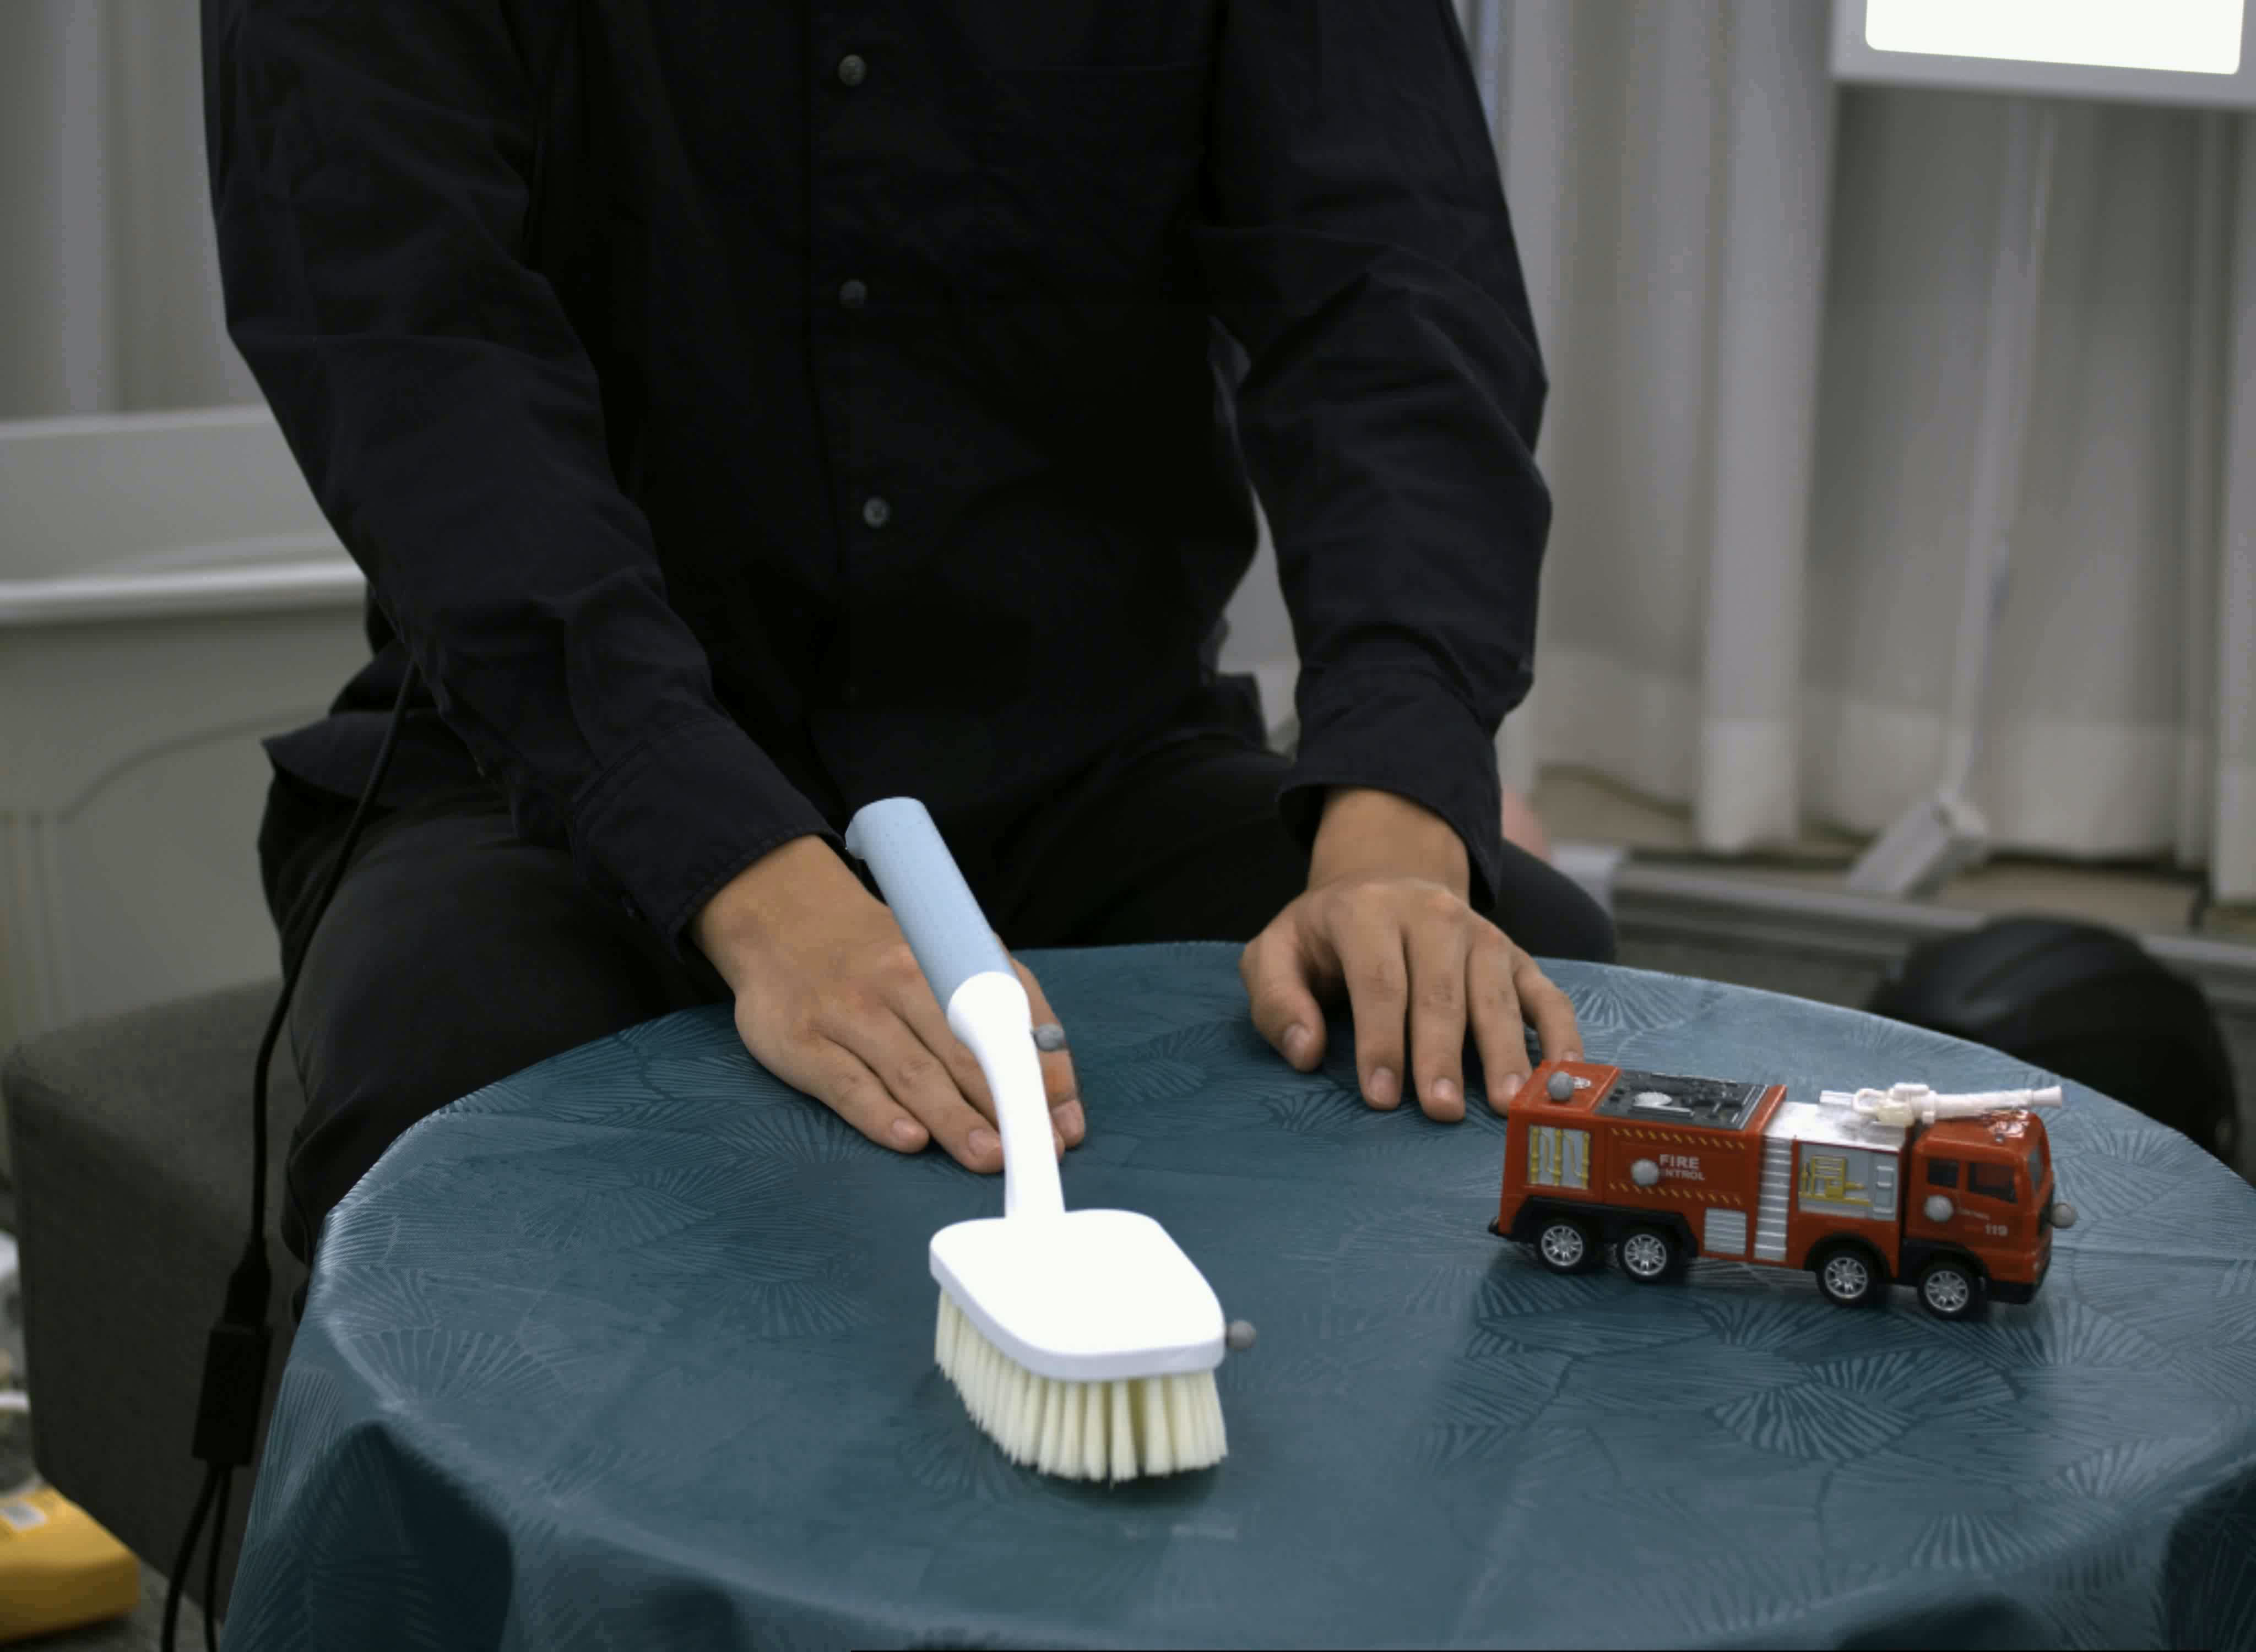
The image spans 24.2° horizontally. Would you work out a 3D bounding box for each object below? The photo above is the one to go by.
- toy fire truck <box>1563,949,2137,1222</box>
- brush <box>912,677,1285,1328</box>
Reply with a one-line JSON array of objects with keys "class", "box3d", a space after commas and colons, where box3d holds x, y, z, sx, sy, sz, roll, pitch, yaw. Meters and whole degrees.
[{"class": "toy fire truck", "box3d": [0.216, 0.074, 1.575, 0.166, 0.071, 0.054, 4, 14, 15]}, {"class": "brush", "box3d": [-0.015, 0.063, 1.560, 0.084, 0.084, 0.321, 33, 14, -29]}]
